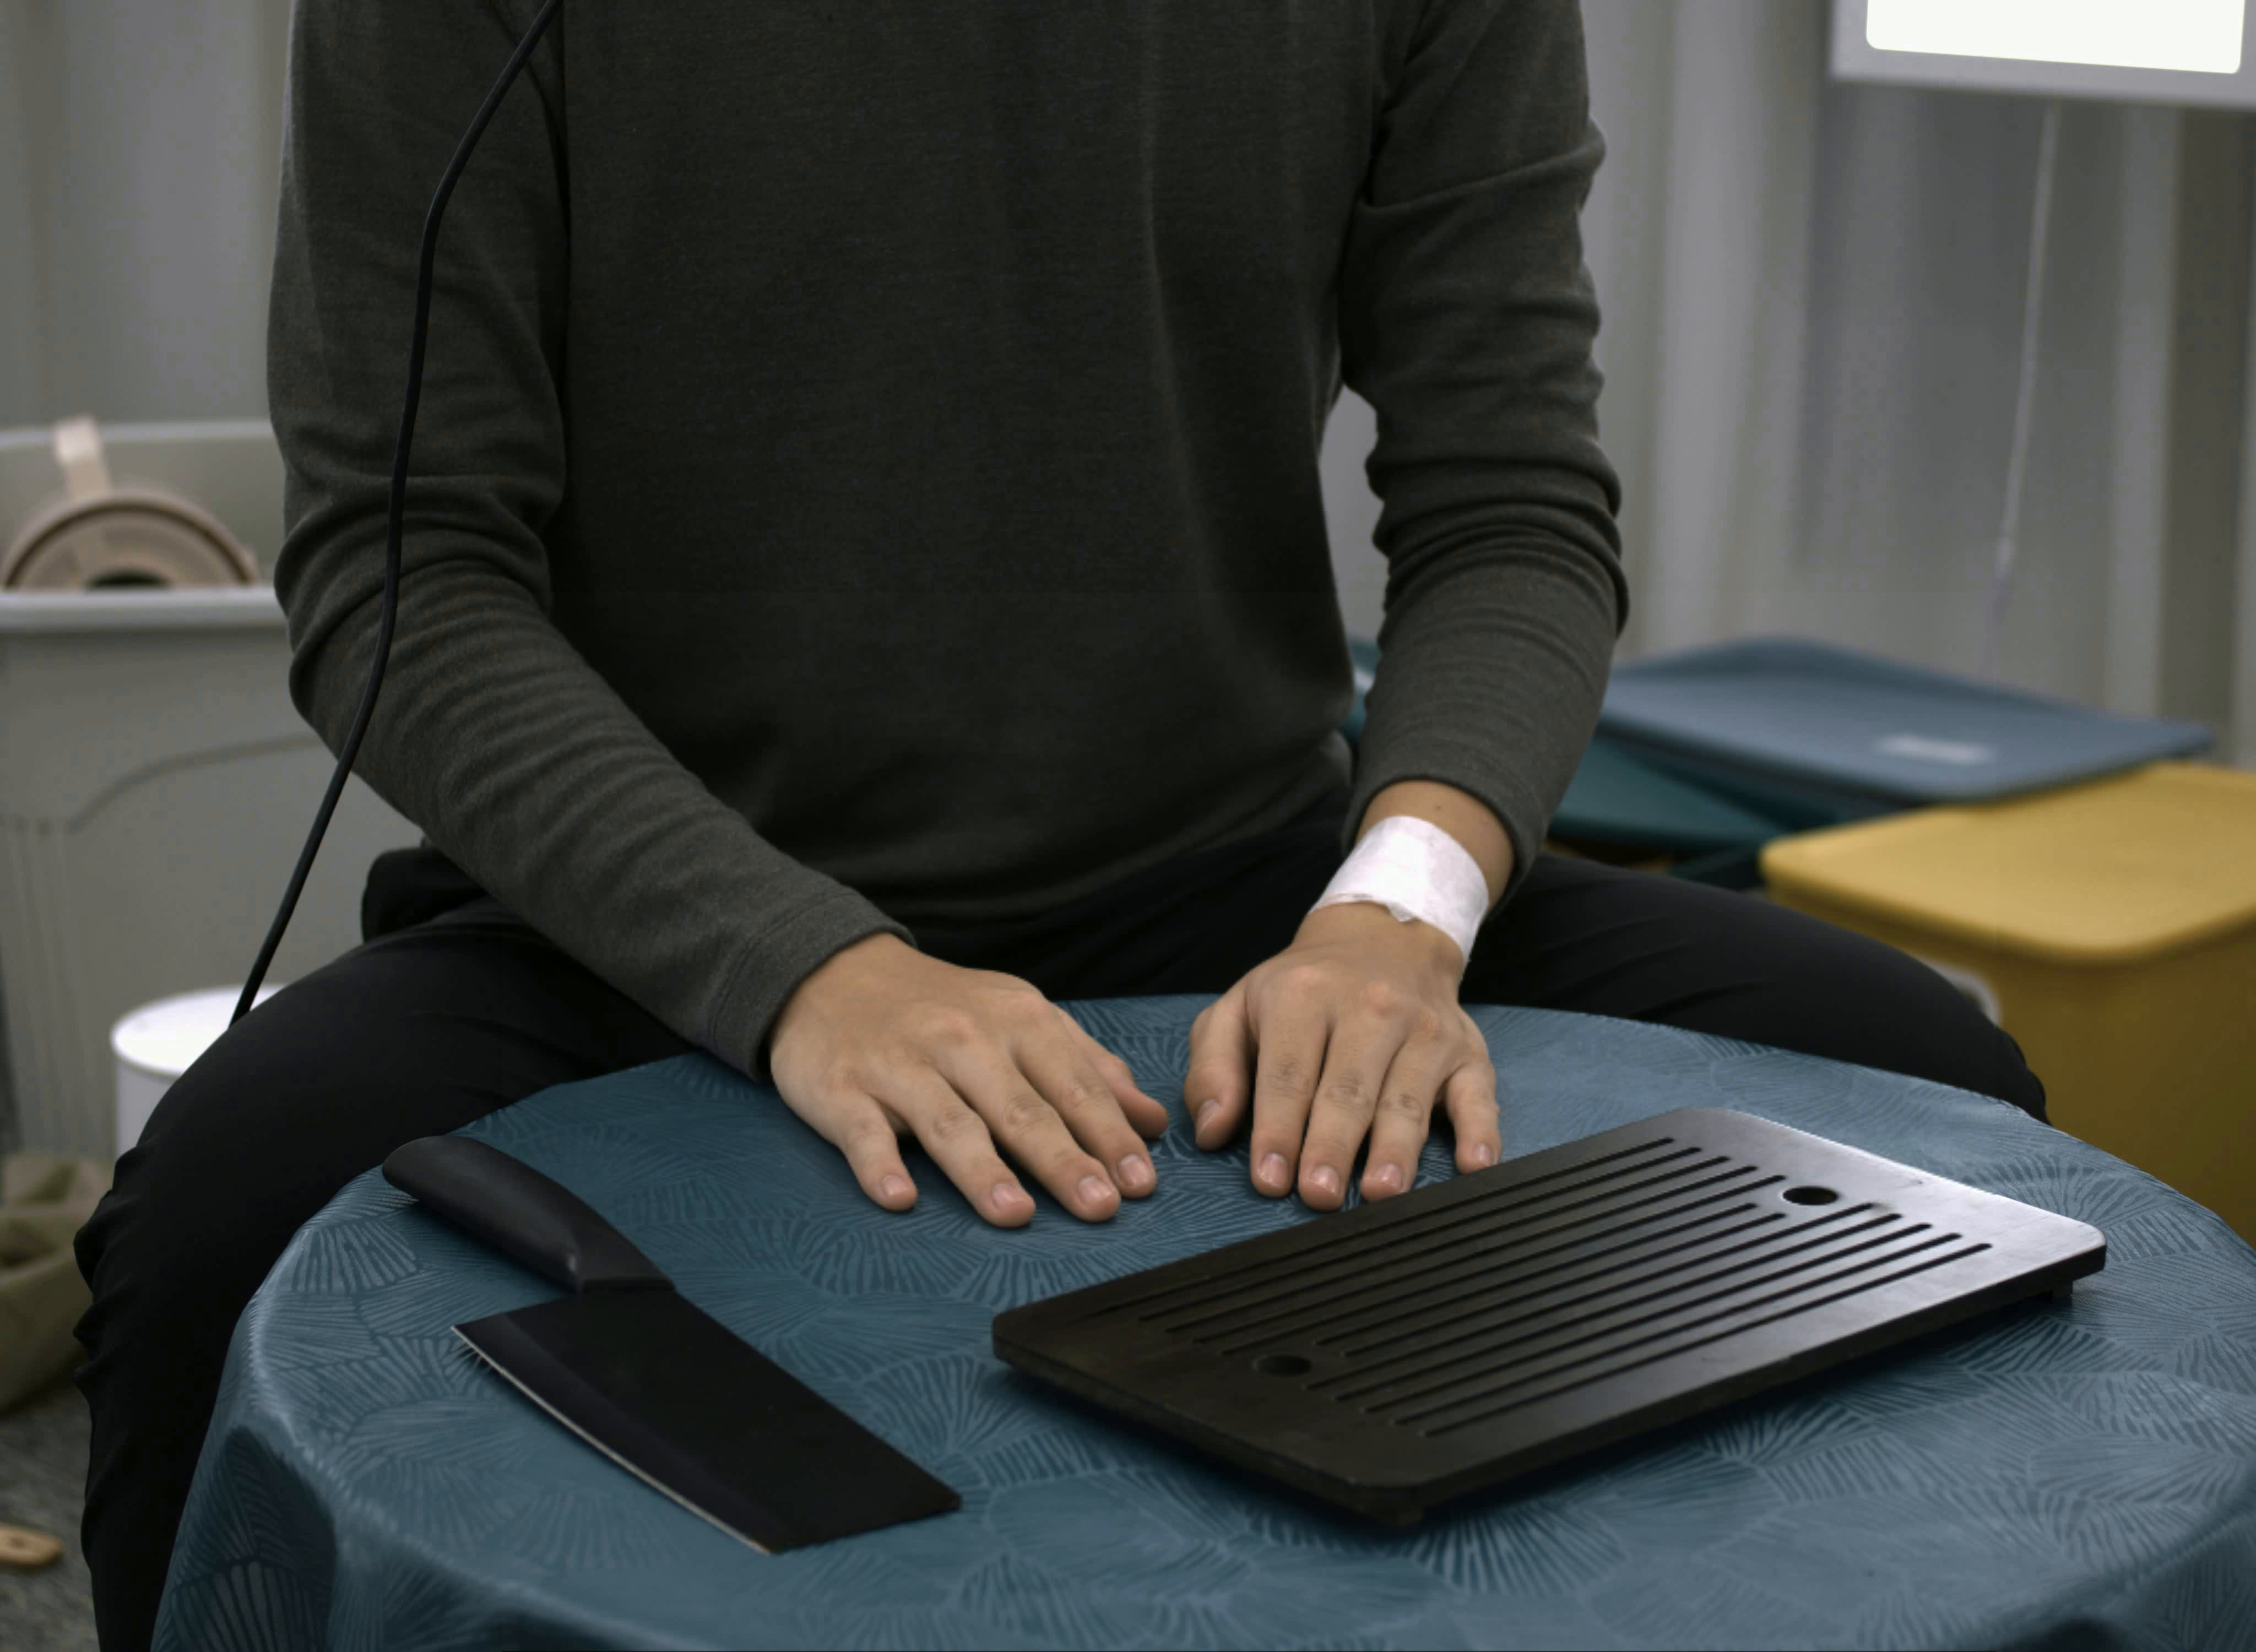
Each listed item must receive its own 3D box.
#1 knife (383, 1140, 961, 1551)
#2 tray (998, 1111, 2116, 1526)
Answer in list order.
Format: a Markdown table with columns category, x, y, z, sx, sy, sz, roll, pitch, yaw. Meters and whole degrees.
| category | x | y | z | sx | sy | sz | roll | pitch | yaw |
| --- | --- | --- | --- | --- | --- | --- | --- | --- | --- |
| knife | -0.145 | 0.143 | 1.482 | 0.081 | 0.021 | 0.298 | -9 | 20 | -27 |
| tray | 0.126 | 0.137 | 1.506 | 0.307 | 0.019 | 0.168 | -12 | 19 | -40 |
